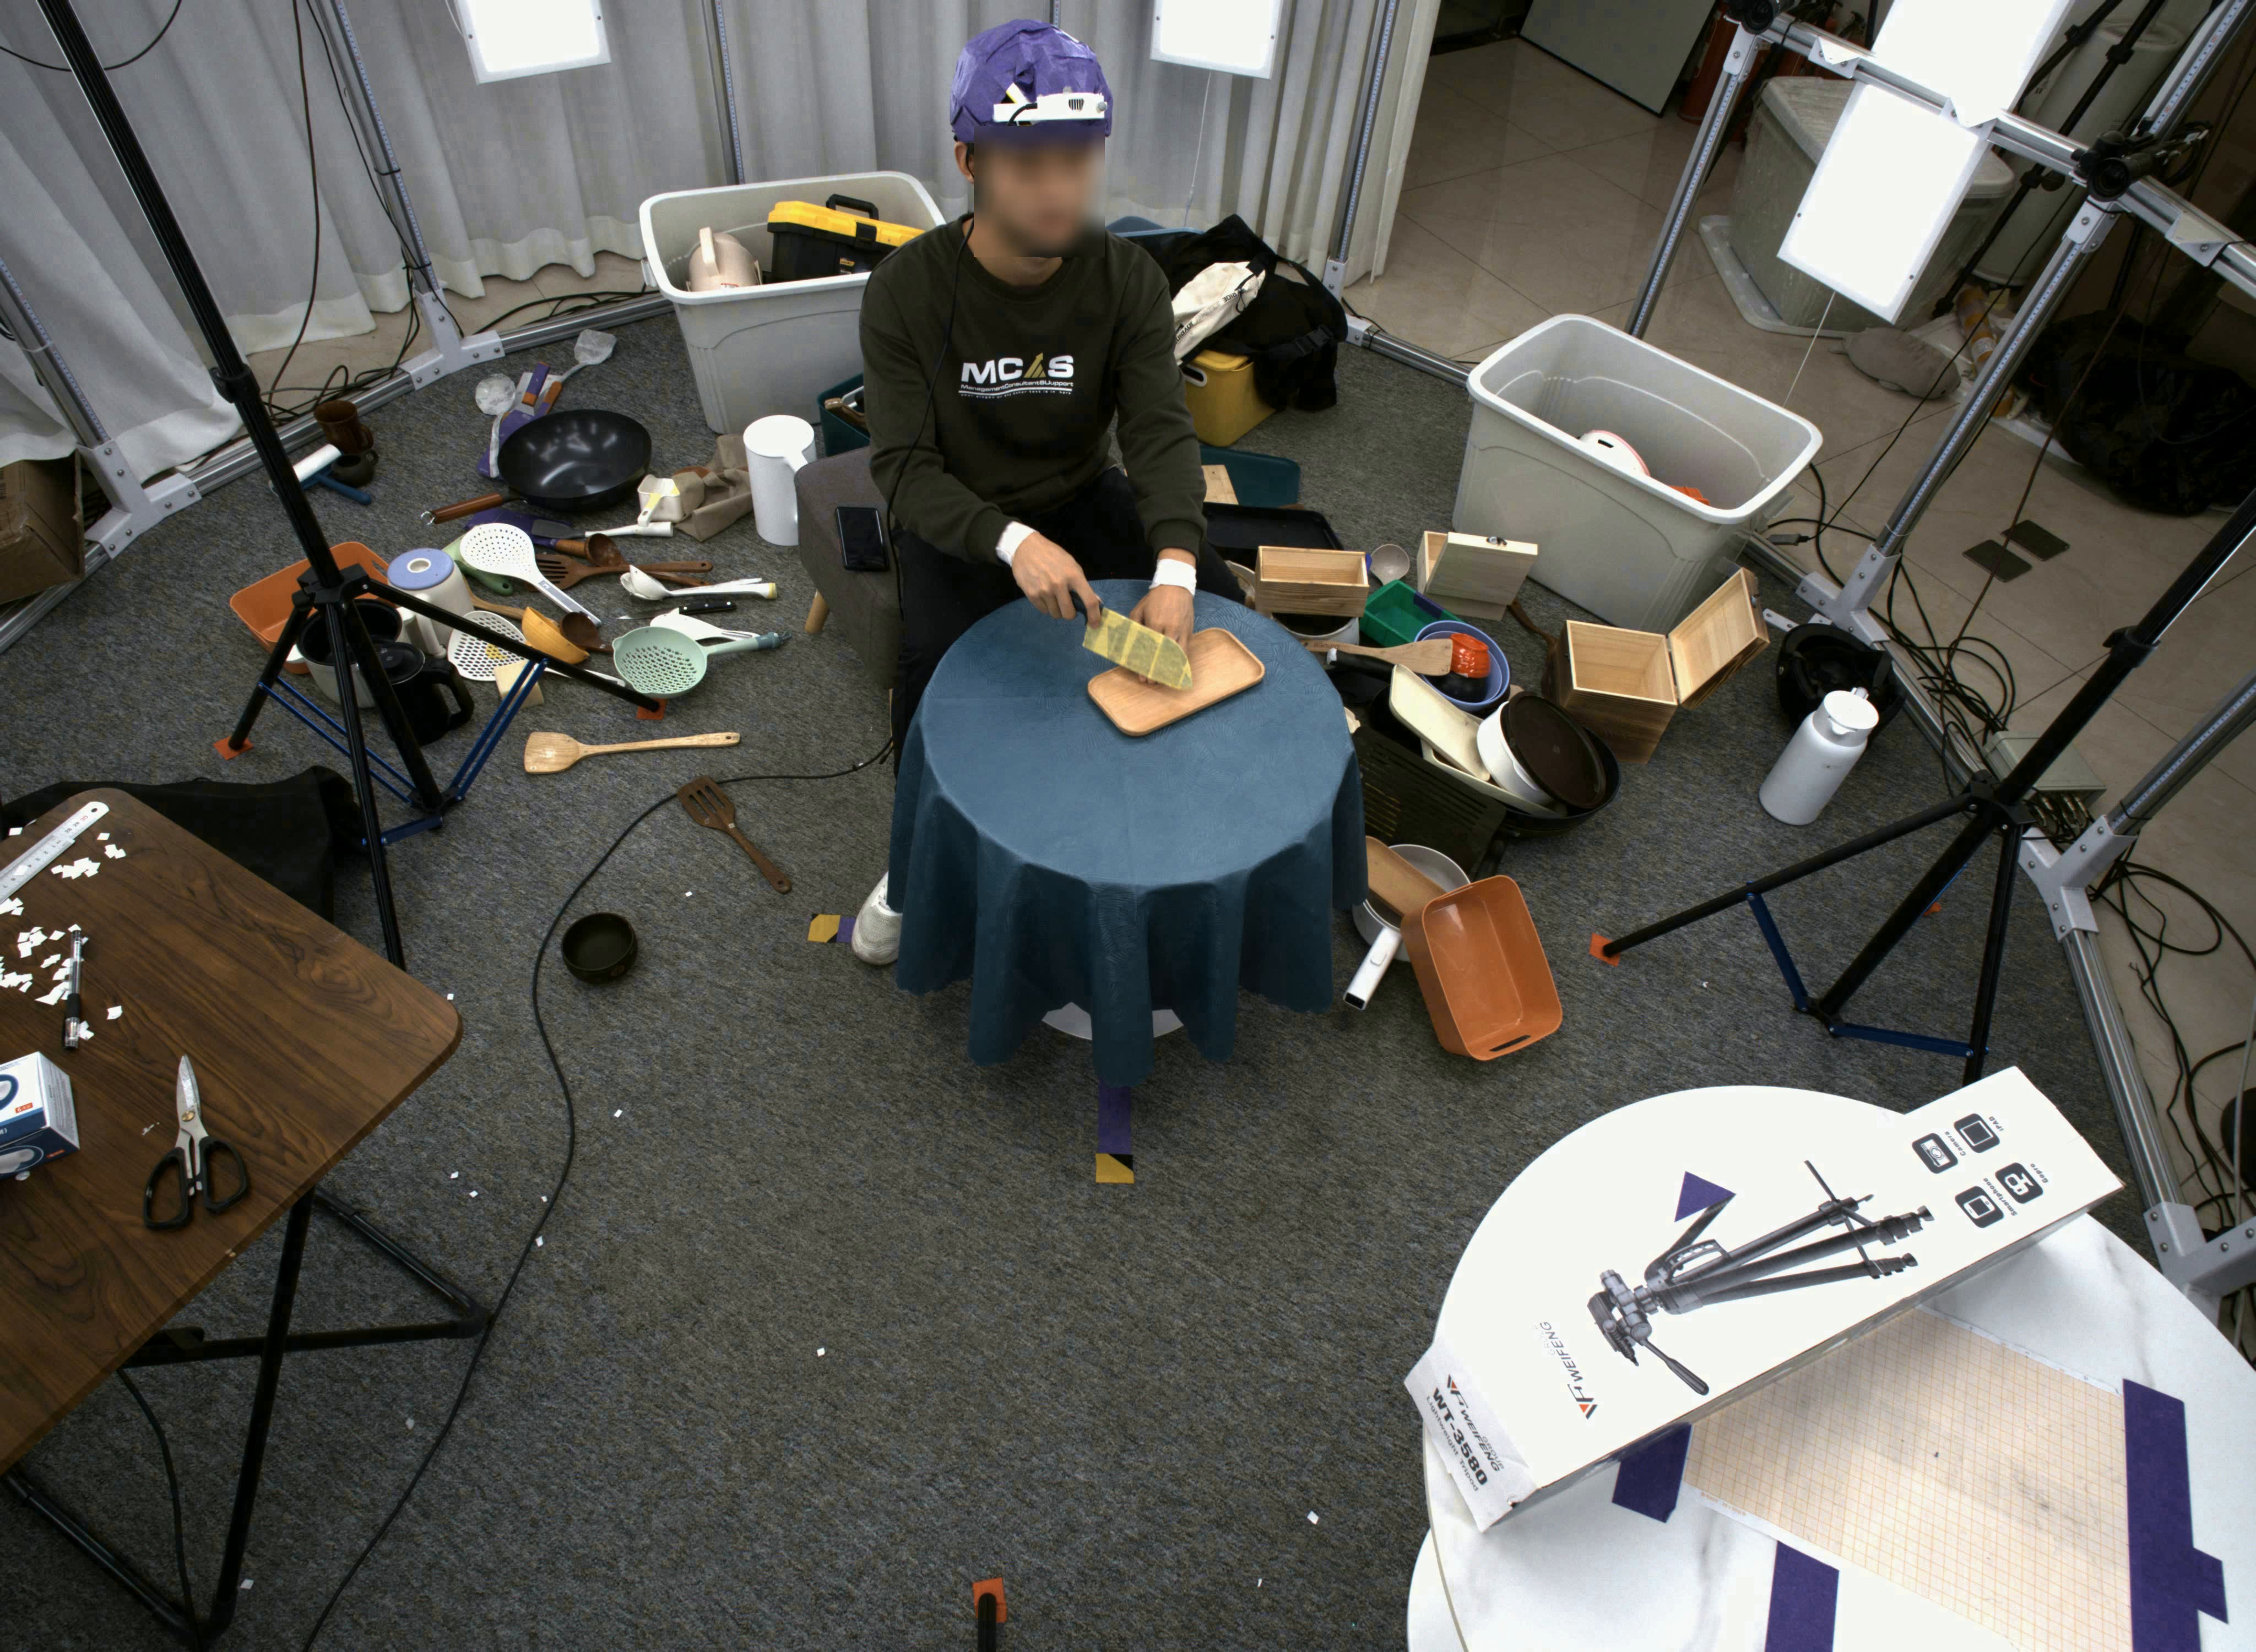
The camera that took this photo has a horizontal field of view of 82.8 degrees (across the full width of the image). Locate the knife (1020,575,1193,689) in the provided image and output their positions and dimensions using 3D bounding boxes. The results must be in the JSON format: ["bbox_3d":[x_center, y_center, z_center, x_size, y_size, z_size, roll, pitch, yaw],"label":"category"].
[{"bbox_3d":[-0.032,-0.274,1.816,0.291,0.079,0.027,31,35,12],"label":"knife"}]

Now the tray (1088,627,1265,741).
[{"bbox_3d":[0.071,-0.205,1.844,0.252,0.022,0.133,-27,53,-21],"label":"tray"}]
